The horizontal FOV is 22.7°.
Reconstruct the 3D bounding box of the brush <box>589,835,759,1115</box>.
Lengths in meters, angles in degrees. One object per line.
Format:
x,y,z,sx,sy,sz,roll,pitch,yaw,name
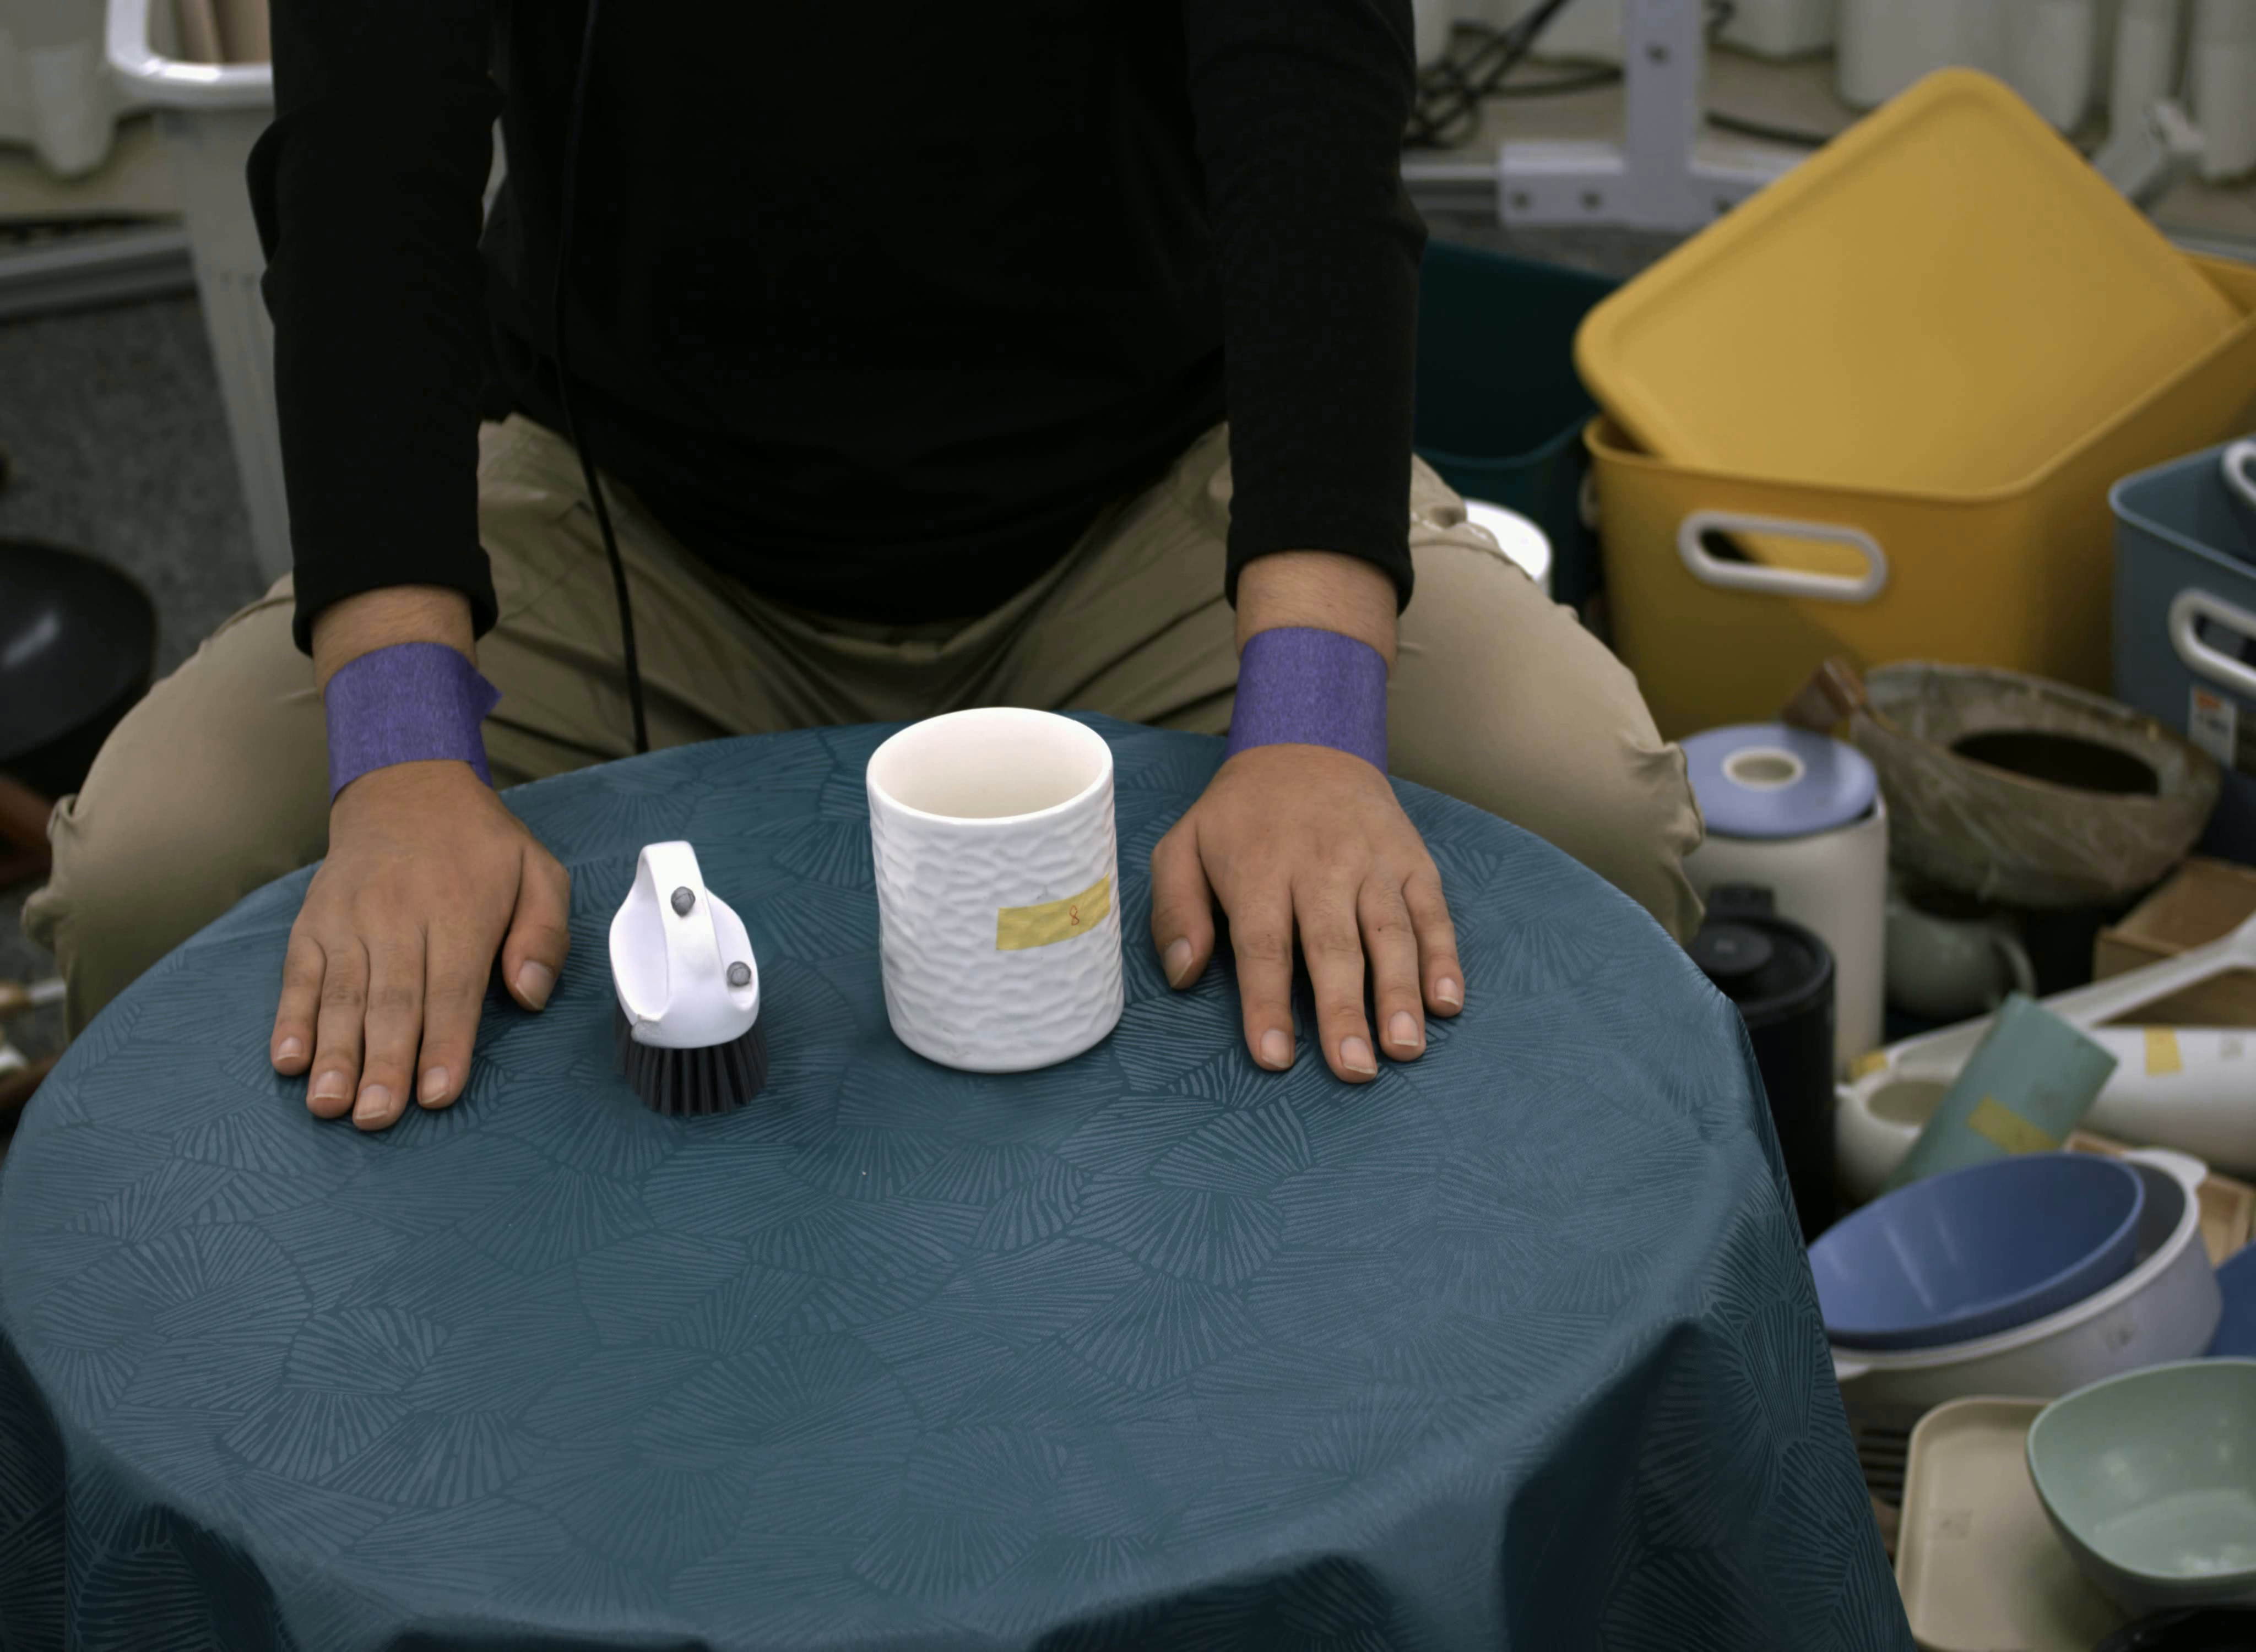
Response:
-0.158,0.045,1.945,0.050,0.071,0.100,-7,31,-17,brush

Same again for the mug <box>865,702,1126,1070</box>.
-0.048,0.015,1.960,0.085,0.101,0.119,-9,27,-10,mug
